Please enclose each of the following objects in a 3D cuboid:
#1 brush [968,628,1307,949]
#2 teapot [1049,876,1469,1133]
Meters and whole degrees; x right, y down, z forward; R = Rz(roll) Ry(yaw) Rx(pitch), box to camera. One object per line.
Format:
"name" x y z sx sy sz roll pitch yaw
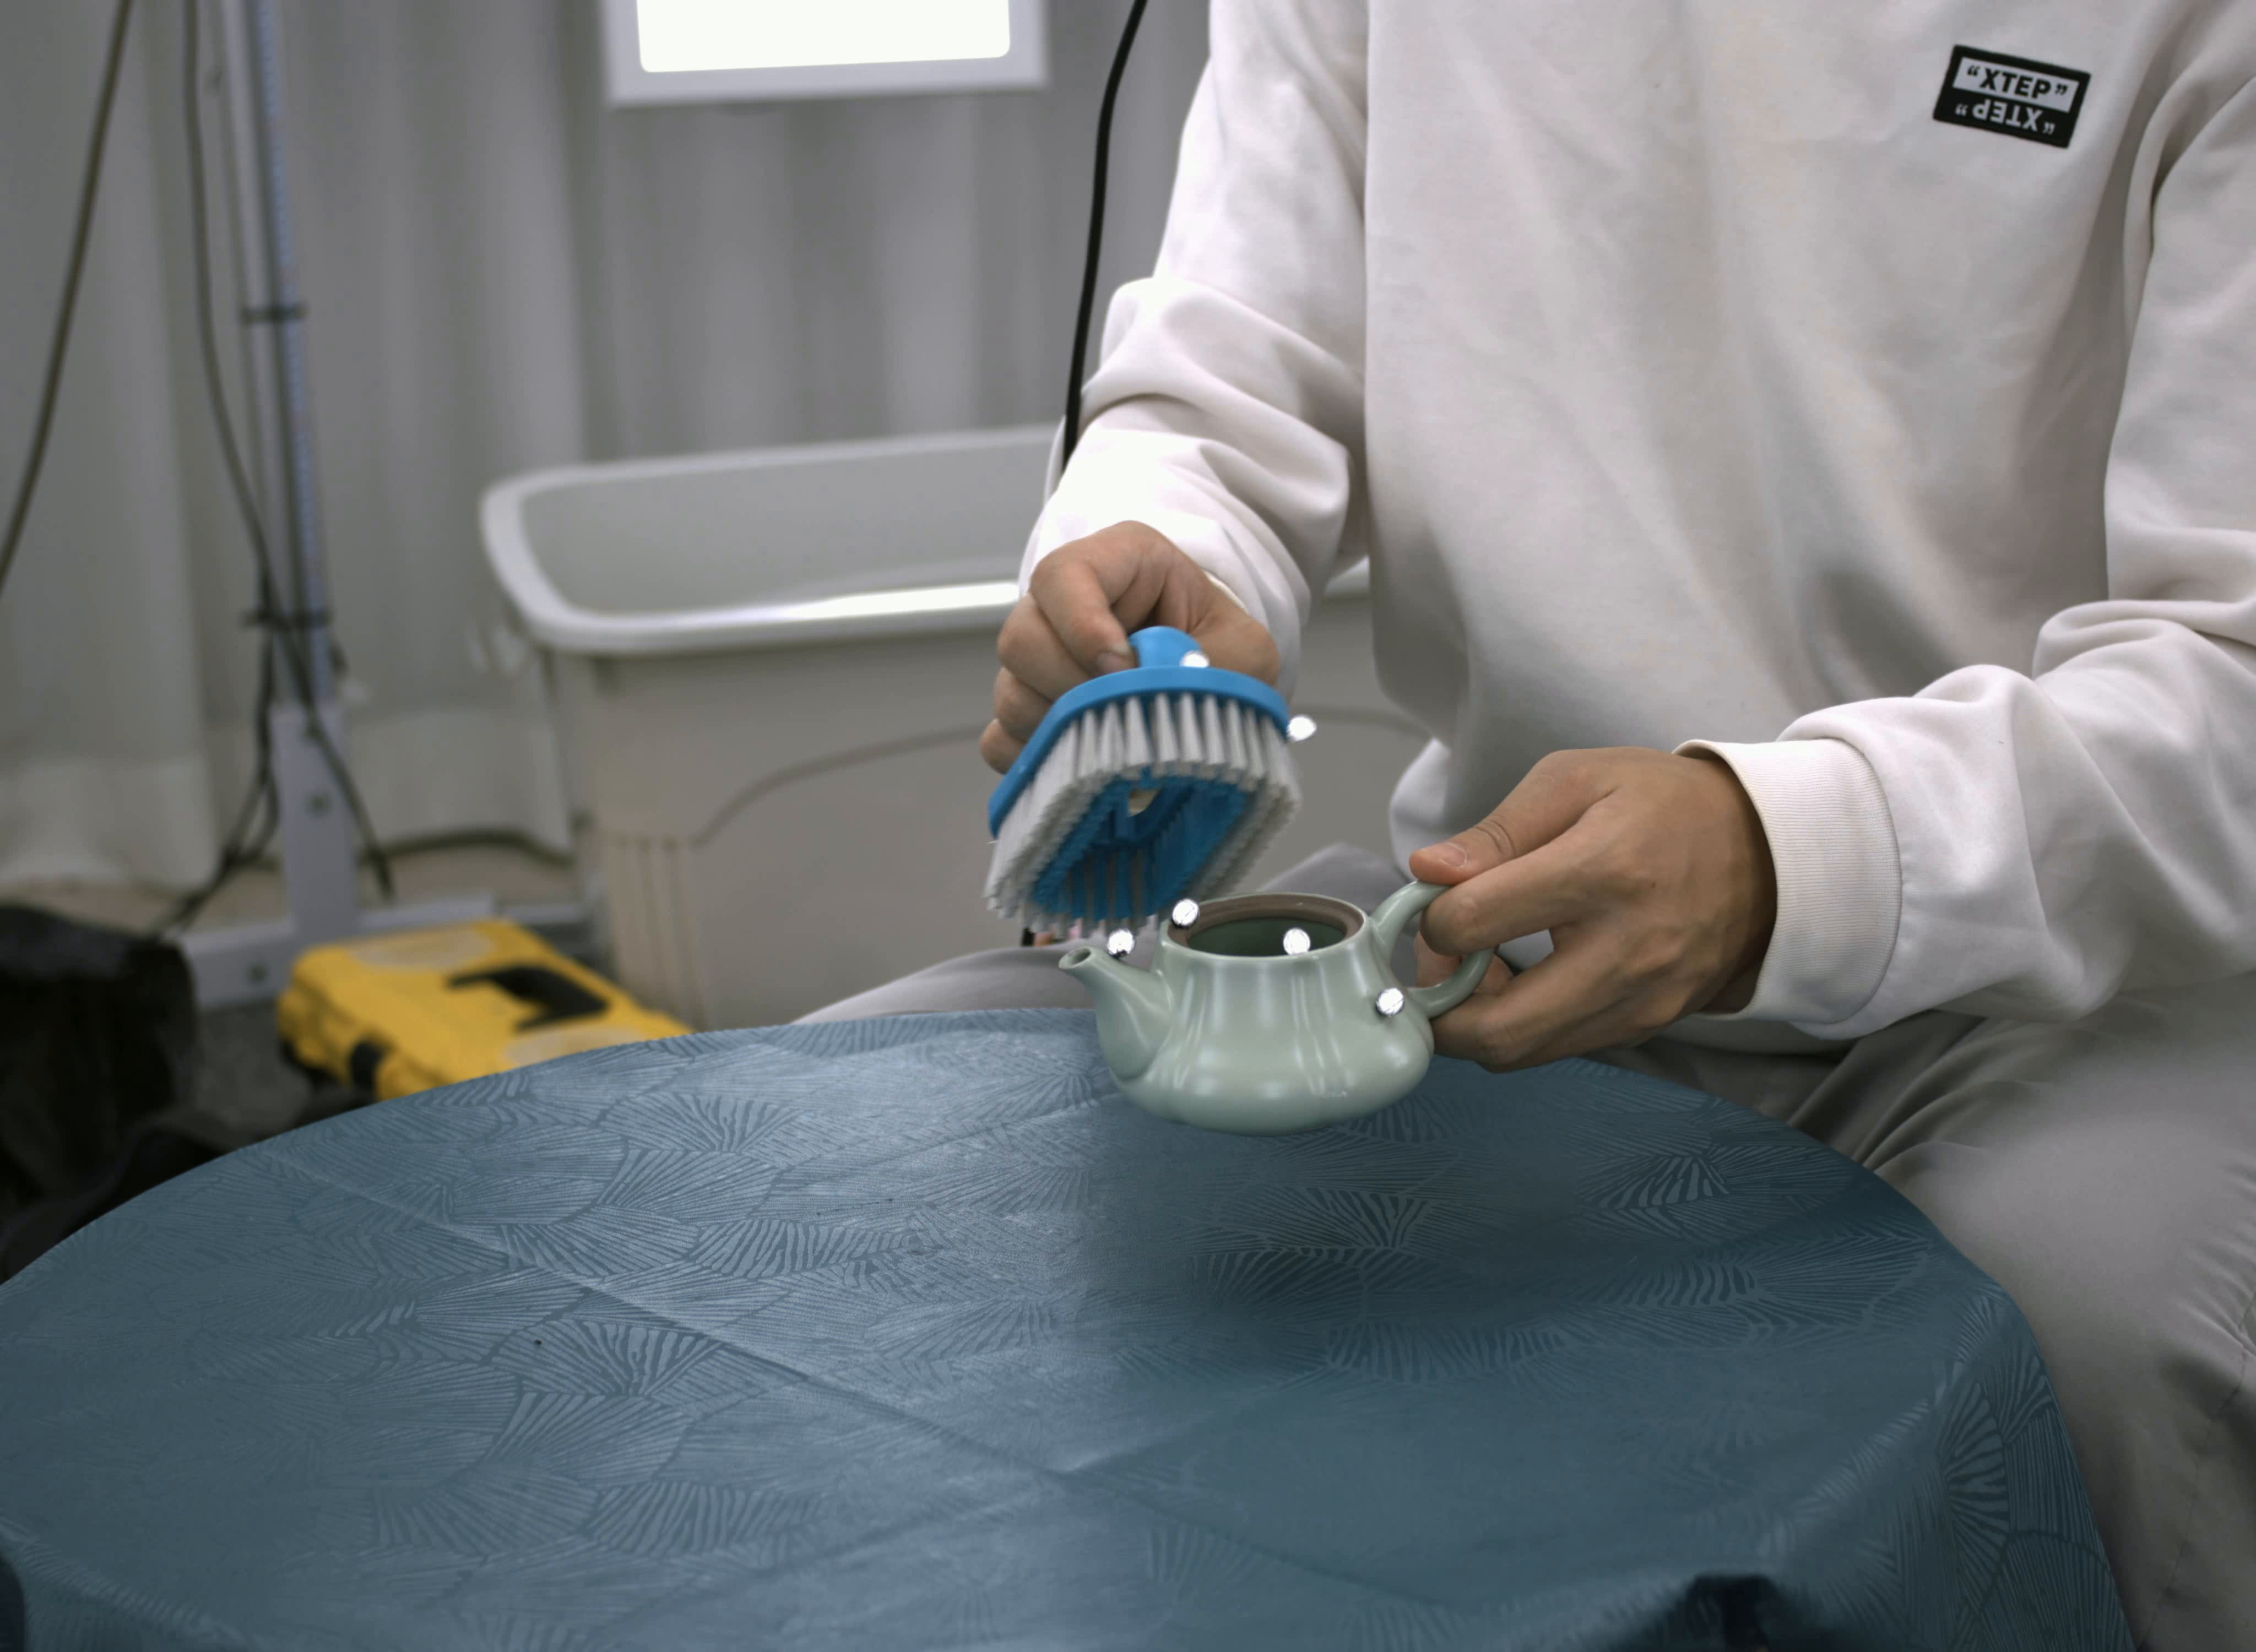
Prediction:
"brush" -0.001 -0.018 1.663 0.084 0.064 0.140 0 -25 -19
"teapot" 0.041 0.053 1.614 0.136 0.061 0.097 -10 15 -22
